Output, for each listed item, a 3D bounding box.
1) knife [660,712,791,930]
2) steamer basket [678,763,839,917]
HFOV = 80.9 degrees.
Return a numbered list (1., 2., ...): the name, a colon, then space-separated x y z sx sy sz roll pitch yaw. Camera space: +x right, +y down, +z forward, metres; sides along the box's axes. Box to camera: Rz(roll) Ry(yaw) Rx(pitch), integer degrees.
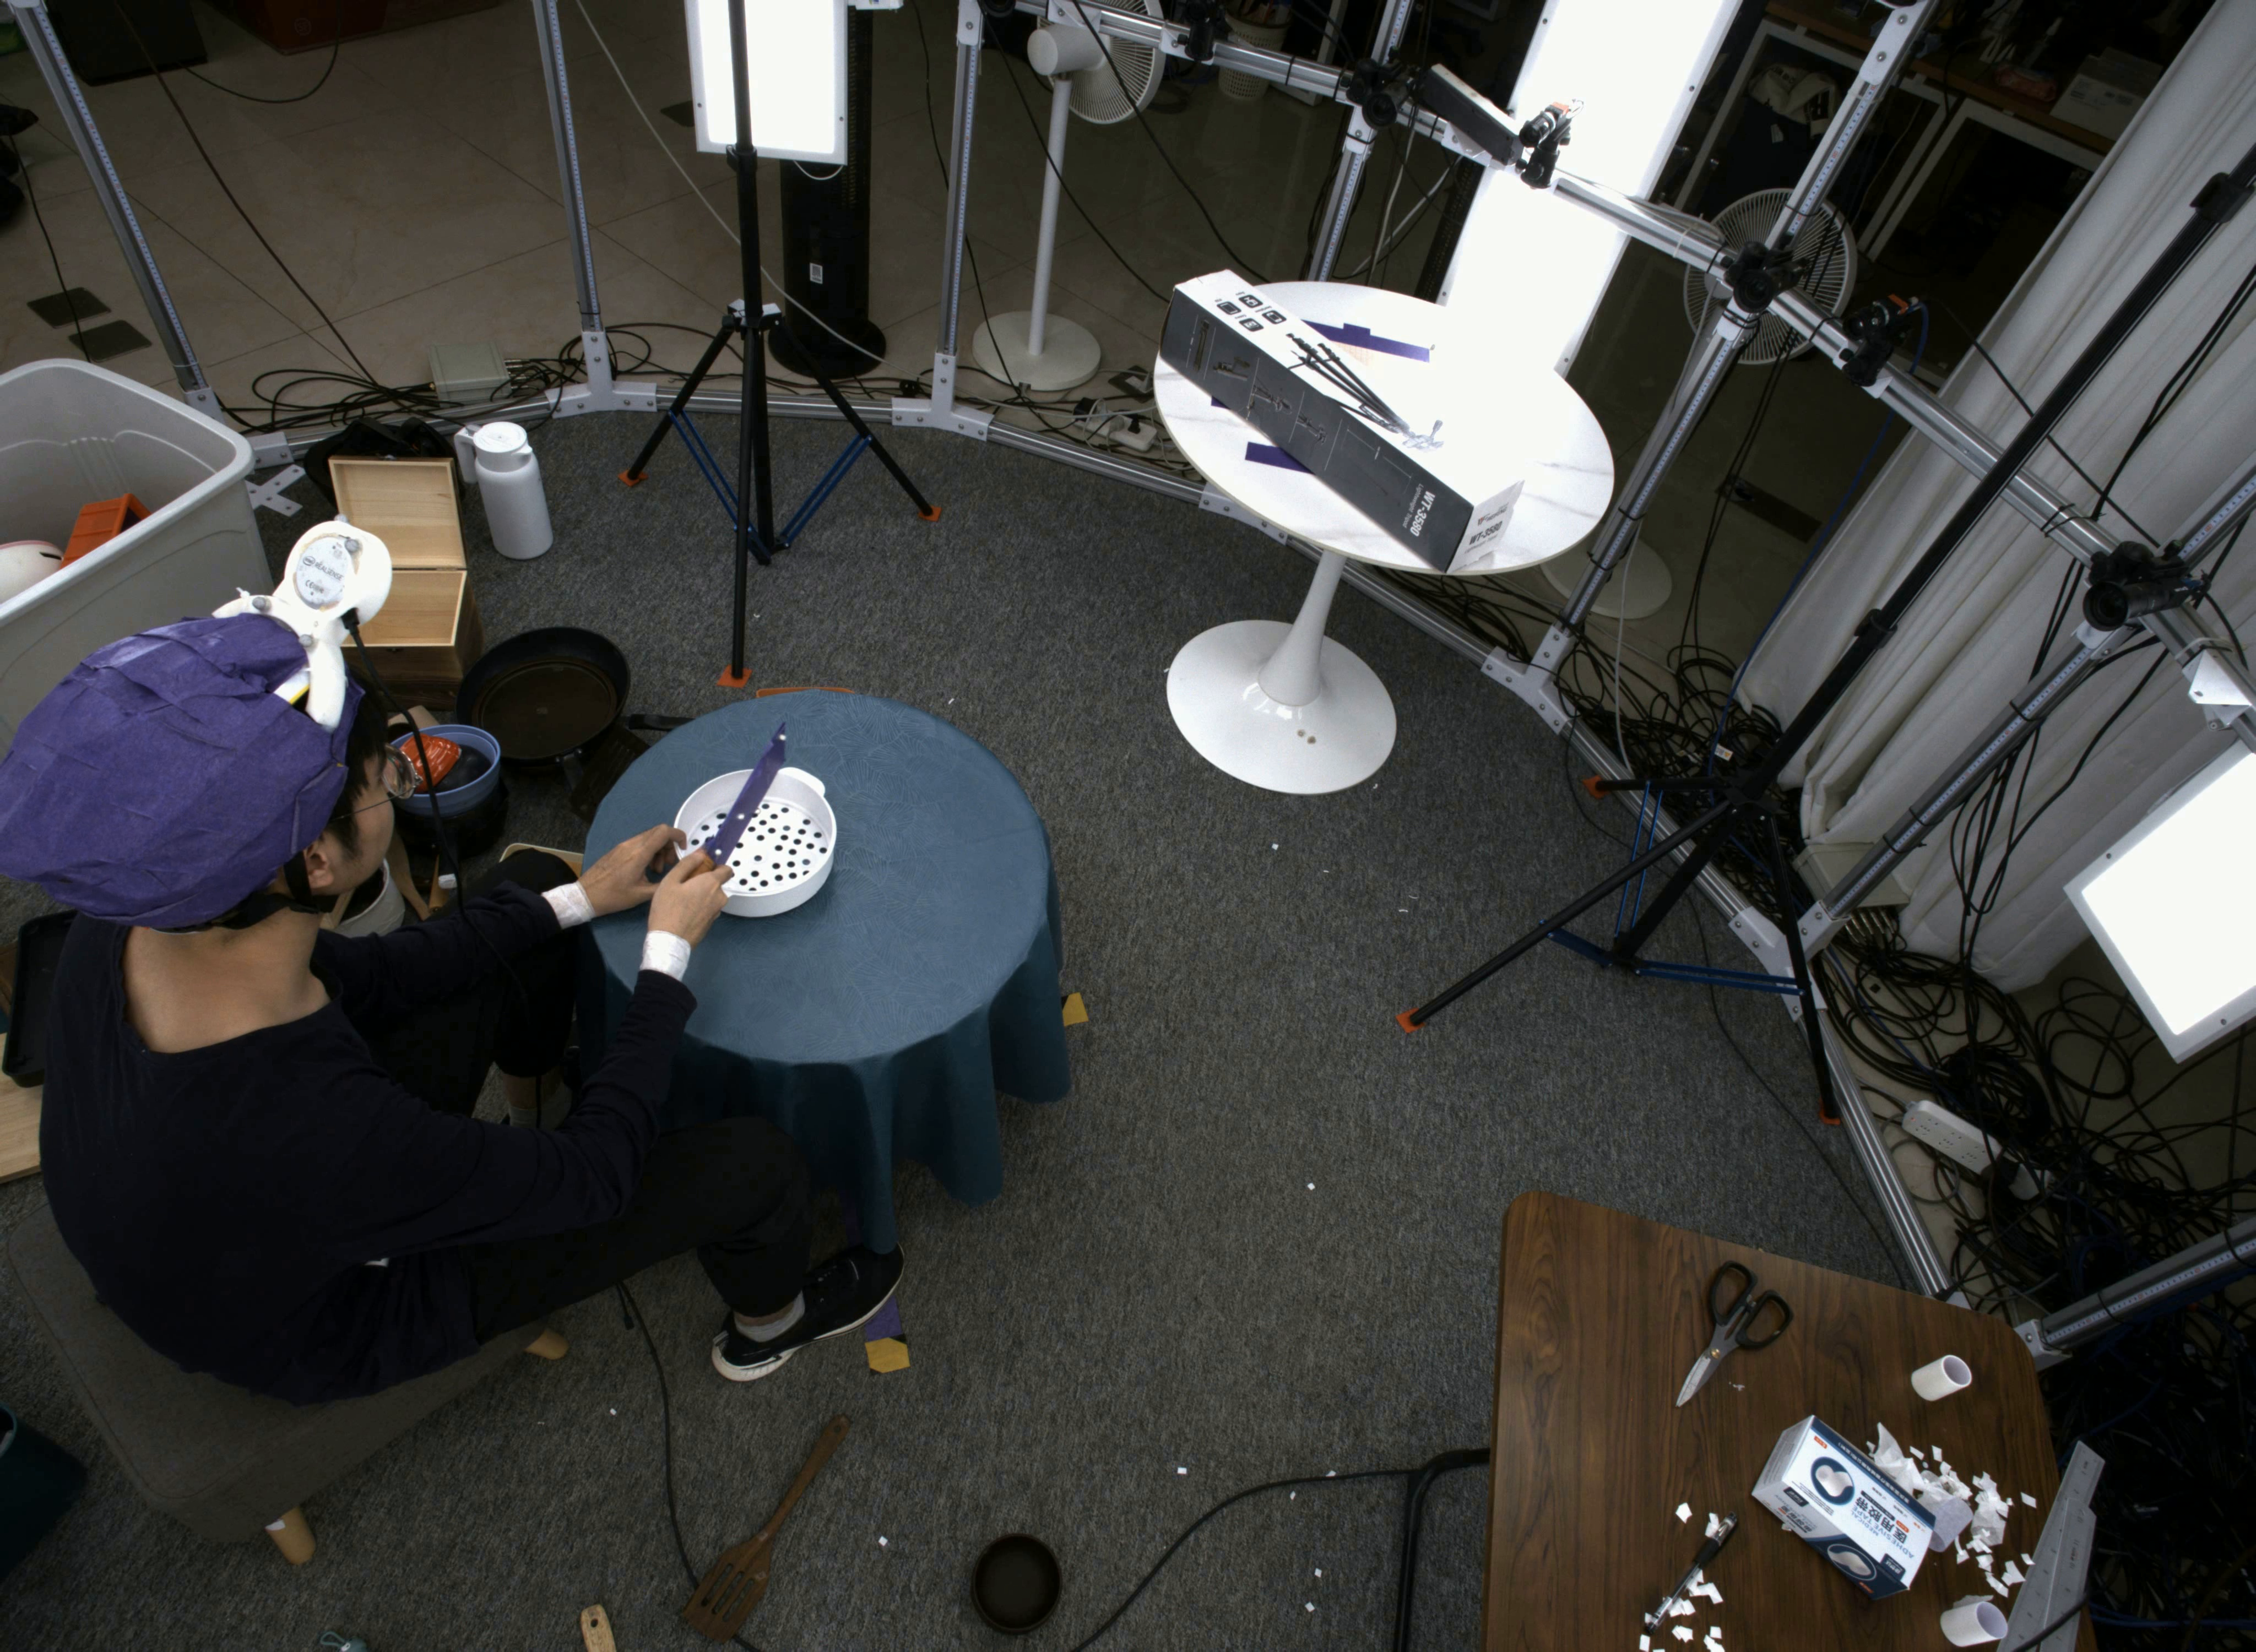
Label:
1. knife: -0.478 0.005 1.567 0.032 0.105 0.312 20 55 1
2. steamer basket: -0.472 0.020 1.666 0.198 0.071 0.229 27 55 9
